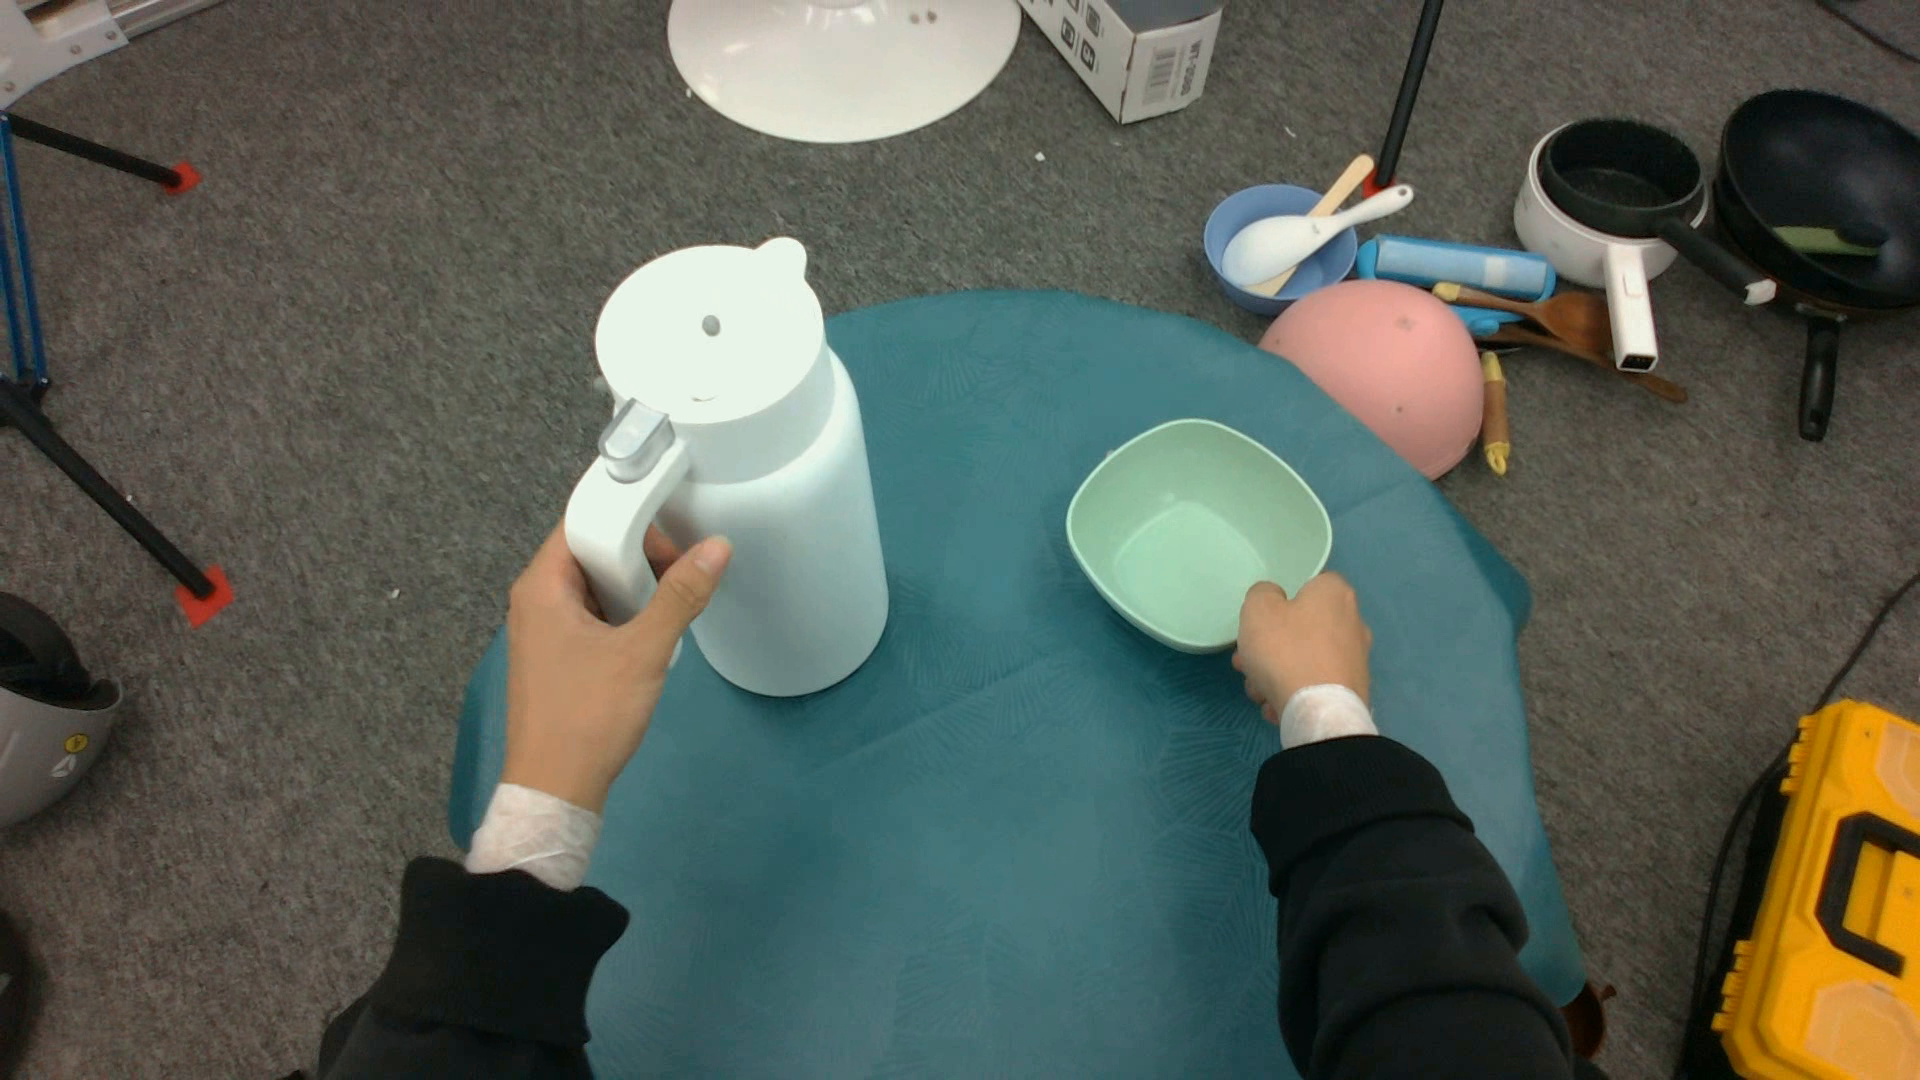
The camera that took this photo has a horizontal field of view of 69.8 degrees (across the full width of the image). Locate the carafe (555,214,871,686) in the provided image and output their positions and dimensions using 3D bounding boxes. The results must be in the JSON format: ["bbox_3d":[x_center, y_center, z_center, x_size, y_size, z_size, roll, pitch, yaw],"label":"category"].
[{"bbox_3d":[-0.119,-0.016,0.702,0.124,0.267,0.173,23,62,12],"label":"carafe"}]

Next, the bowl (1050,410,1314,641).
[{"bbox_3d":[0.128,0.000,0.812,0.151,0.058,0.152,0,59,1],"label":"bowl"}]
